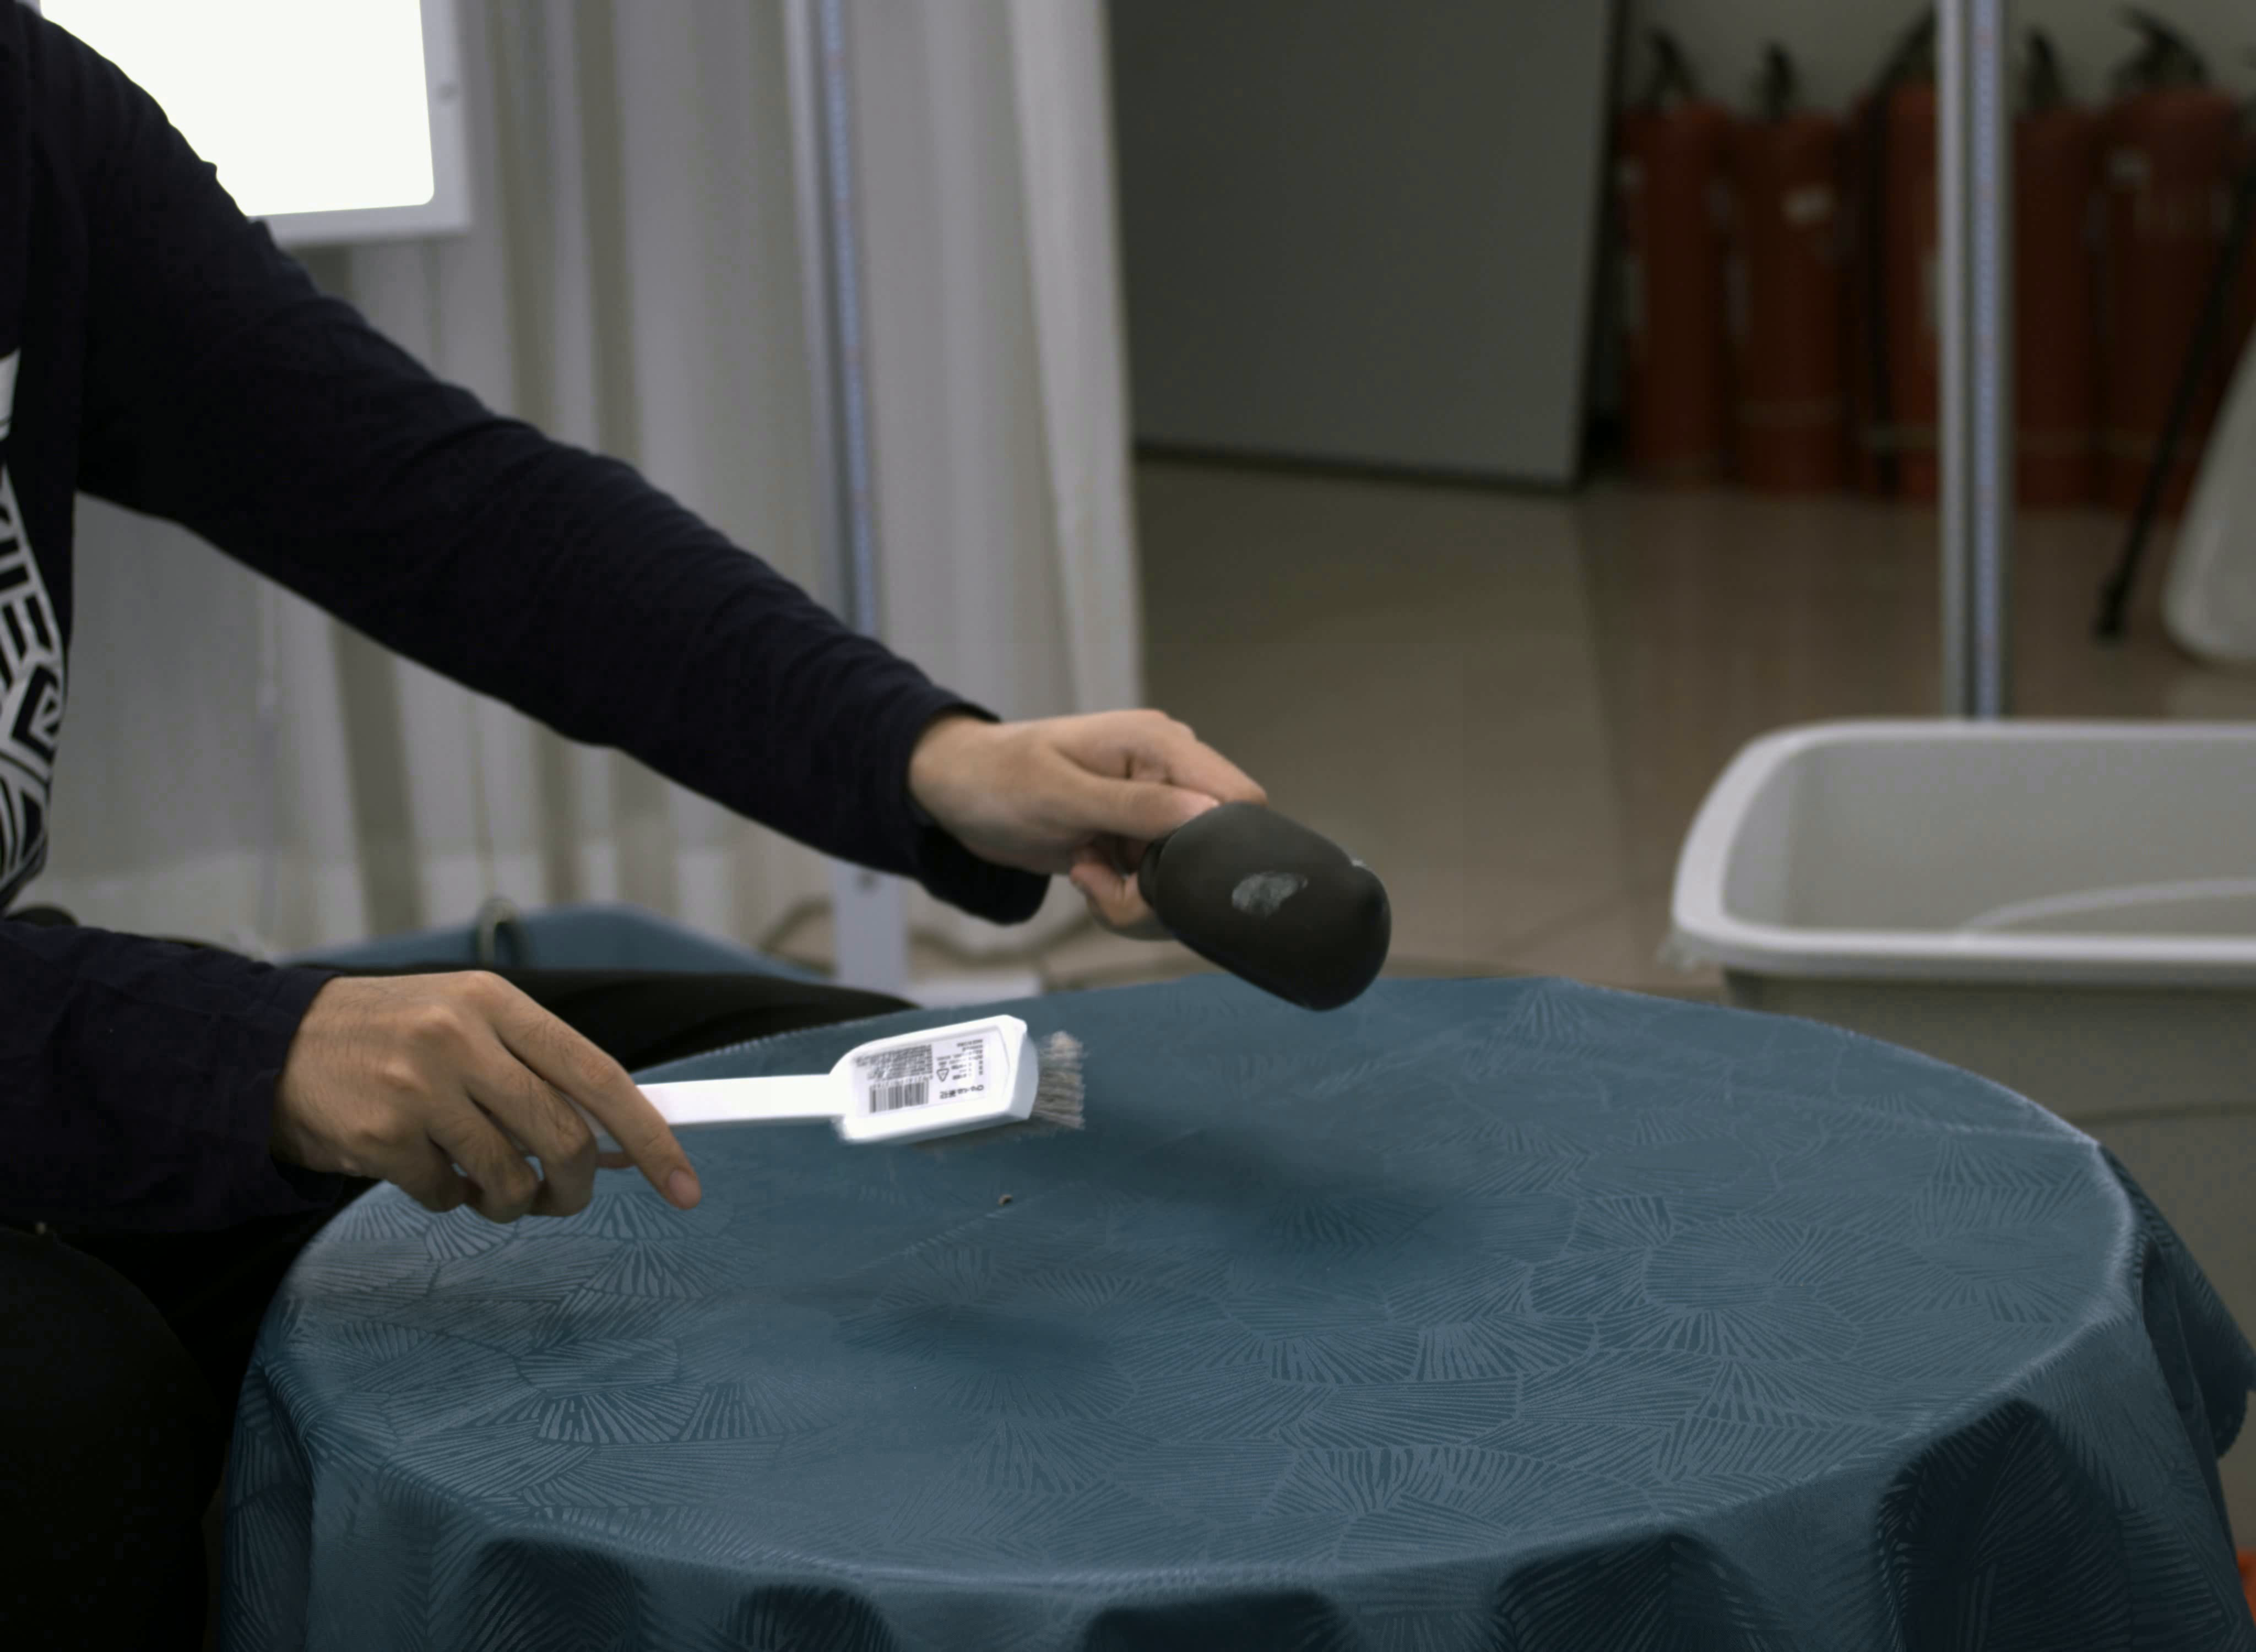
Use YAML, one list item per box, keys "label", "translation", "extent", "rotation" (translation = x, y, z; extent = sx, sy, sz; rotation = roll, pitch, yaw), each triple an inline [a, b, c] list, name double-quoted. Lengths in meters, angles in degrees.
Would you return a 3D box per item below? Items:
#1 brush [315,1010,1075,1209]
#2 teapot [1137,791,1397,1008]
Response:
- label: "brush"
  translation: [-0.134, 0.095, 1.692]
  extent: [0.242, 0.035, 0.050]
  rotation: [-10, -19, 13]
- label: "teapot"
  translation: [0.042, 0.021, 1.782]
  extent: [0.081, 0.053, 0.115]
  rotation: [34, -7, -37]
